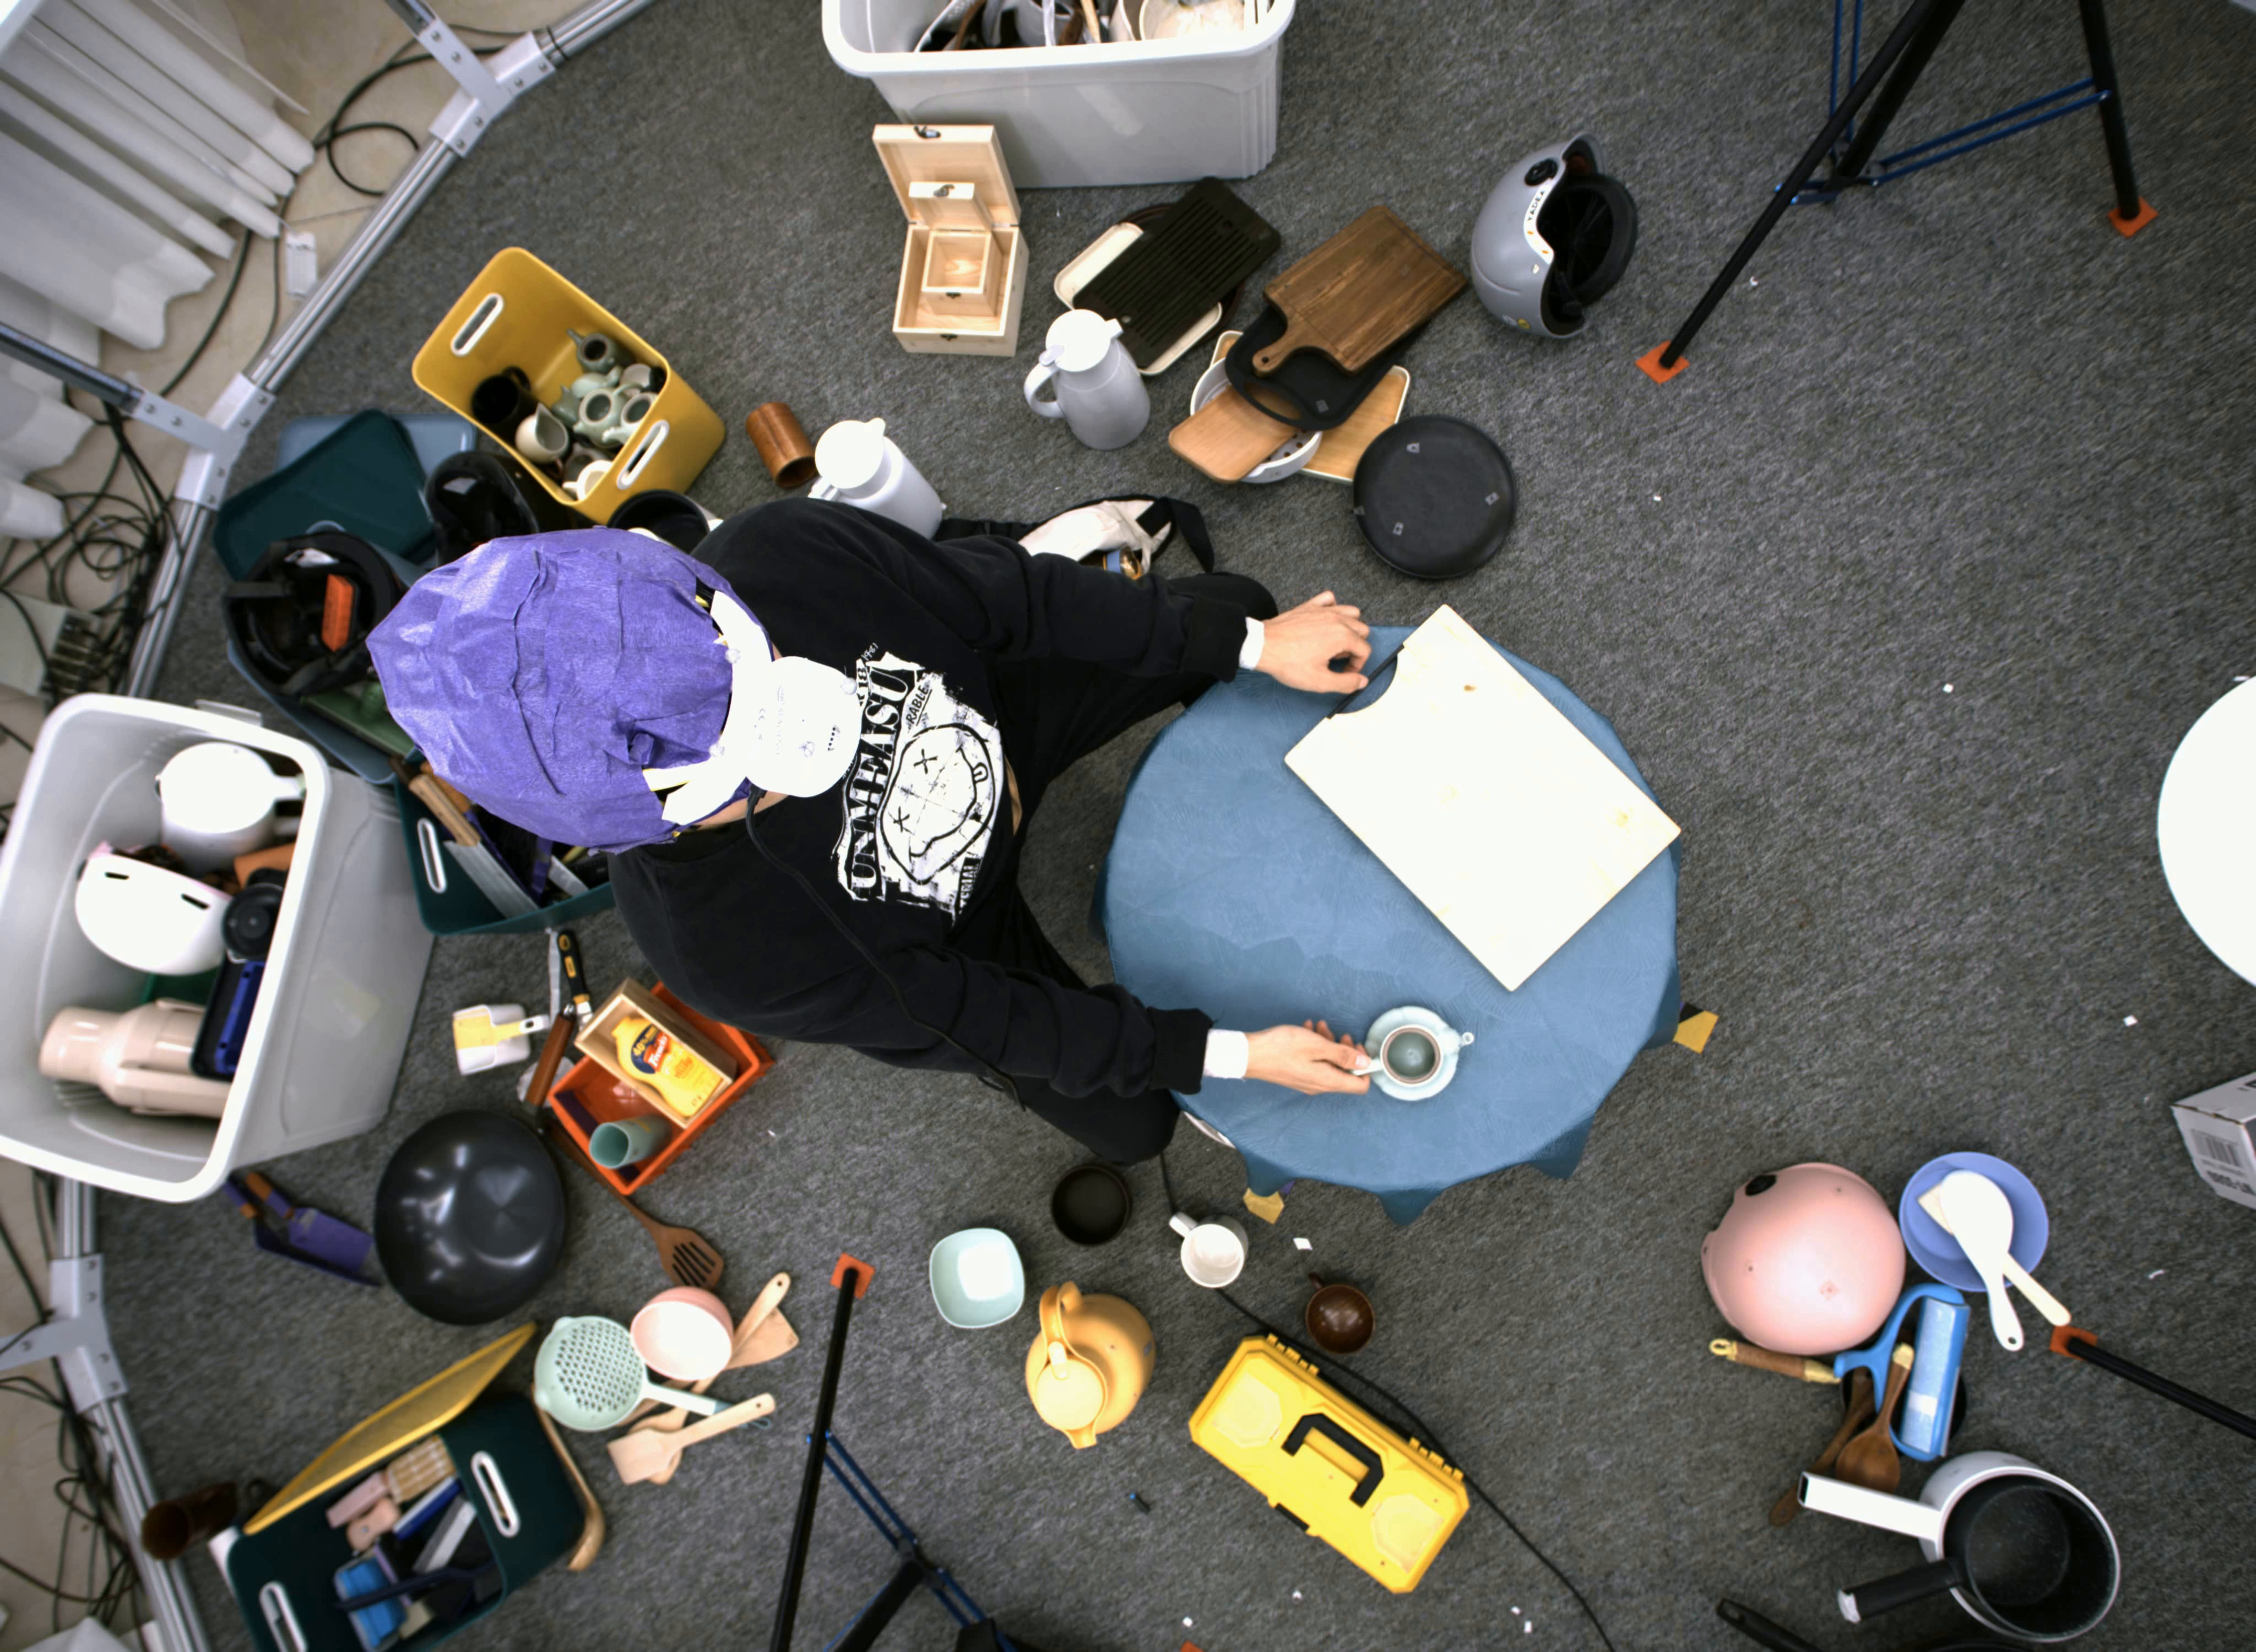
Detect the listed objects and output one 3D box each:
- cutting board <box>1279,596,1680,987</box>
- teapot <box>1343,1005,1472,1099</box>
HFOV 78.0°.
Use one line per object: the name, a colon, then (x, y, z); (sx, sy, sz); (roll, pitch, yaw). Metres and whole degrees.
cutting board: (0.363, -0.039, 1.440); (0.252, 0.023, 0.347); (-45, 80, 6)
teapot: (0.286, 0.233, 1.420); (0.138, 0.061, 0.095); (-20, 84, 9)
